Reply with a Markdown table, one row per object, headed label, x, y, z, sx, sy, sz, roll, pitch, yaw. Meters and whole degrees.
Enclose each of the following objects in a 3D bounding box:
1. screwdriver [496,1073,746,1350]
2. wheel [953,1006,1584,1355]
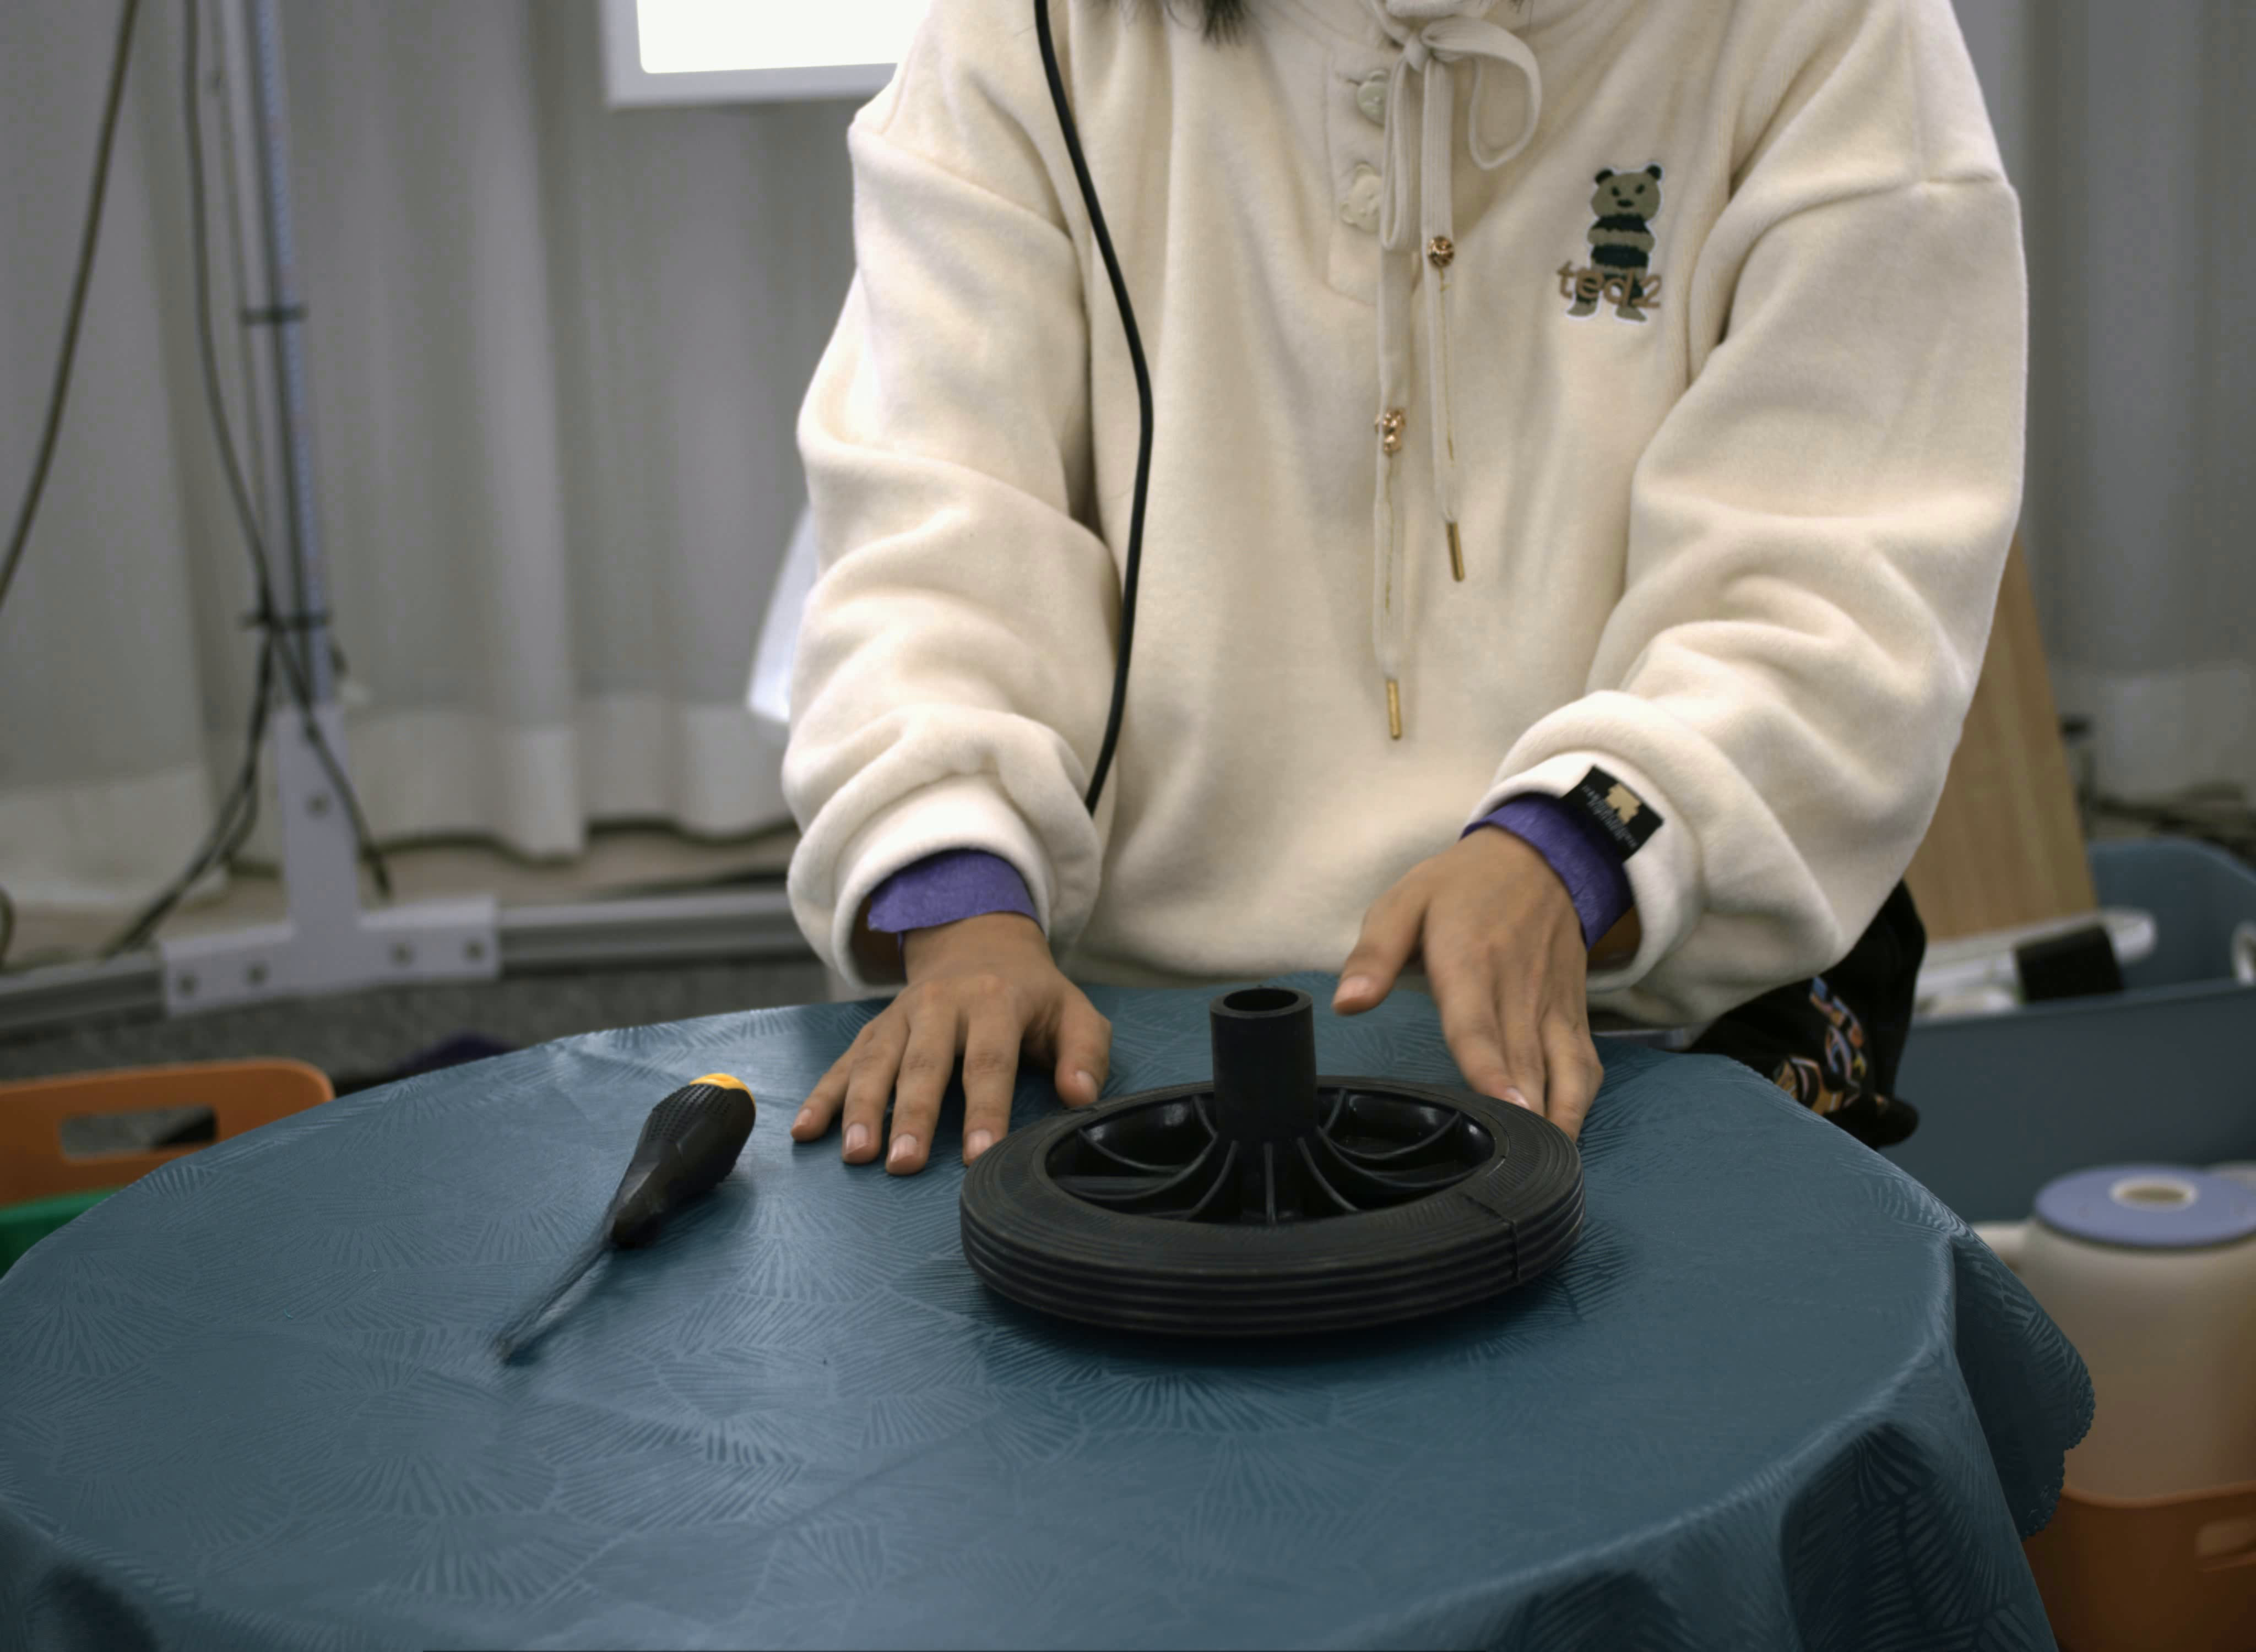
| label | x | y | z | sx | sy | sz | roll | pitch | yaw |
| --- | --- | --- | --- | --- | --- | --- | --- | --- | --- |
| screwdriver | -0.160 | 0.120 | 1.680 | 0.031 | 0.031 | 0.199 | 2 | 18 | 18 |
| wheel | 0.040 | 0.096 | 1.634 | 0.189 | 0.079 | 0.189 | -9 | 15 | -10 |
